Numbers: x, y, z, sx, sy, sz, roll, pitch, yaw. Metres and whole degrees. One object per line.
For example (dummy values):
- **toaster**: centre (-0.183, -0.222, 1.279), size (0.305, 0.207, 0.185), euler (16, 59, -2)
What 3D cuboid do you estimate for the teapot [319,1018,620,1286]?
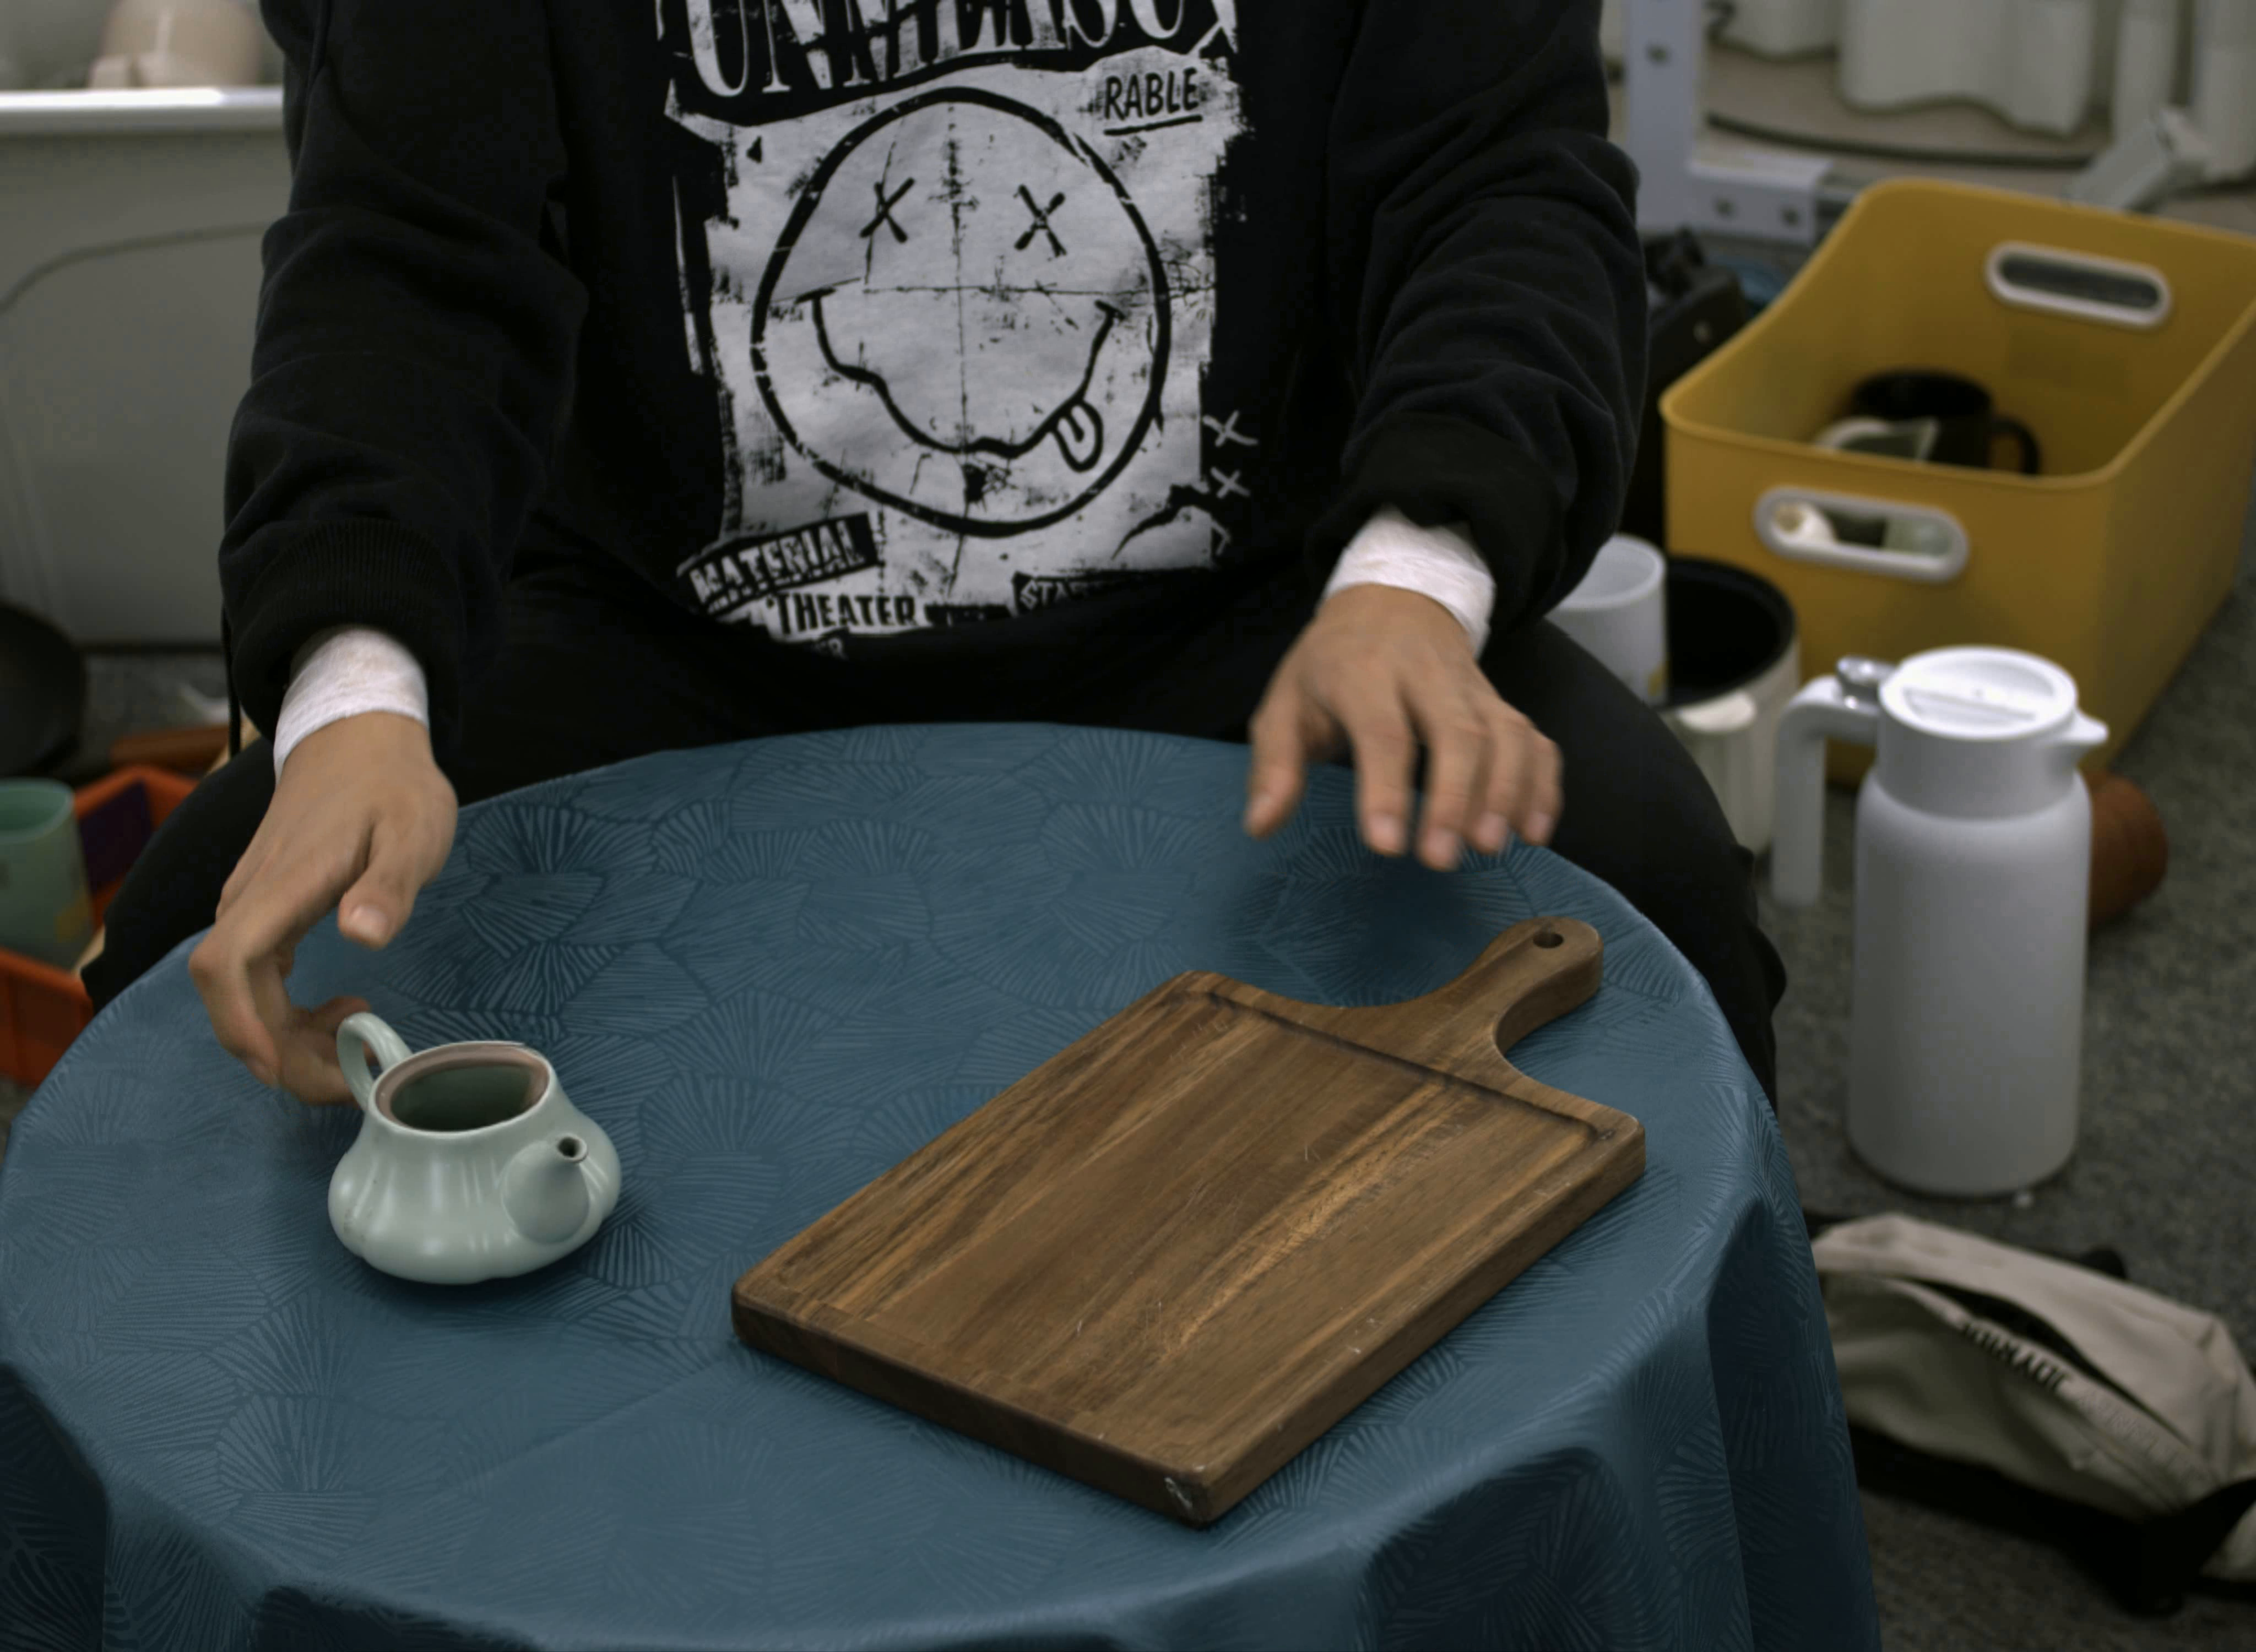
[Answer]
- **teapot**: centre (-0.219, 0.108, 1.843), size (0.097, 0.061, 0.137), euler (-28, 36, -37)

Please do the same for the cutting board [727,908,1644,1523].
- **cutting board**: centre (0.051, 0.110, 1.853), size (0.200, 0.023, 0.357), euler (17, 33, 33)
